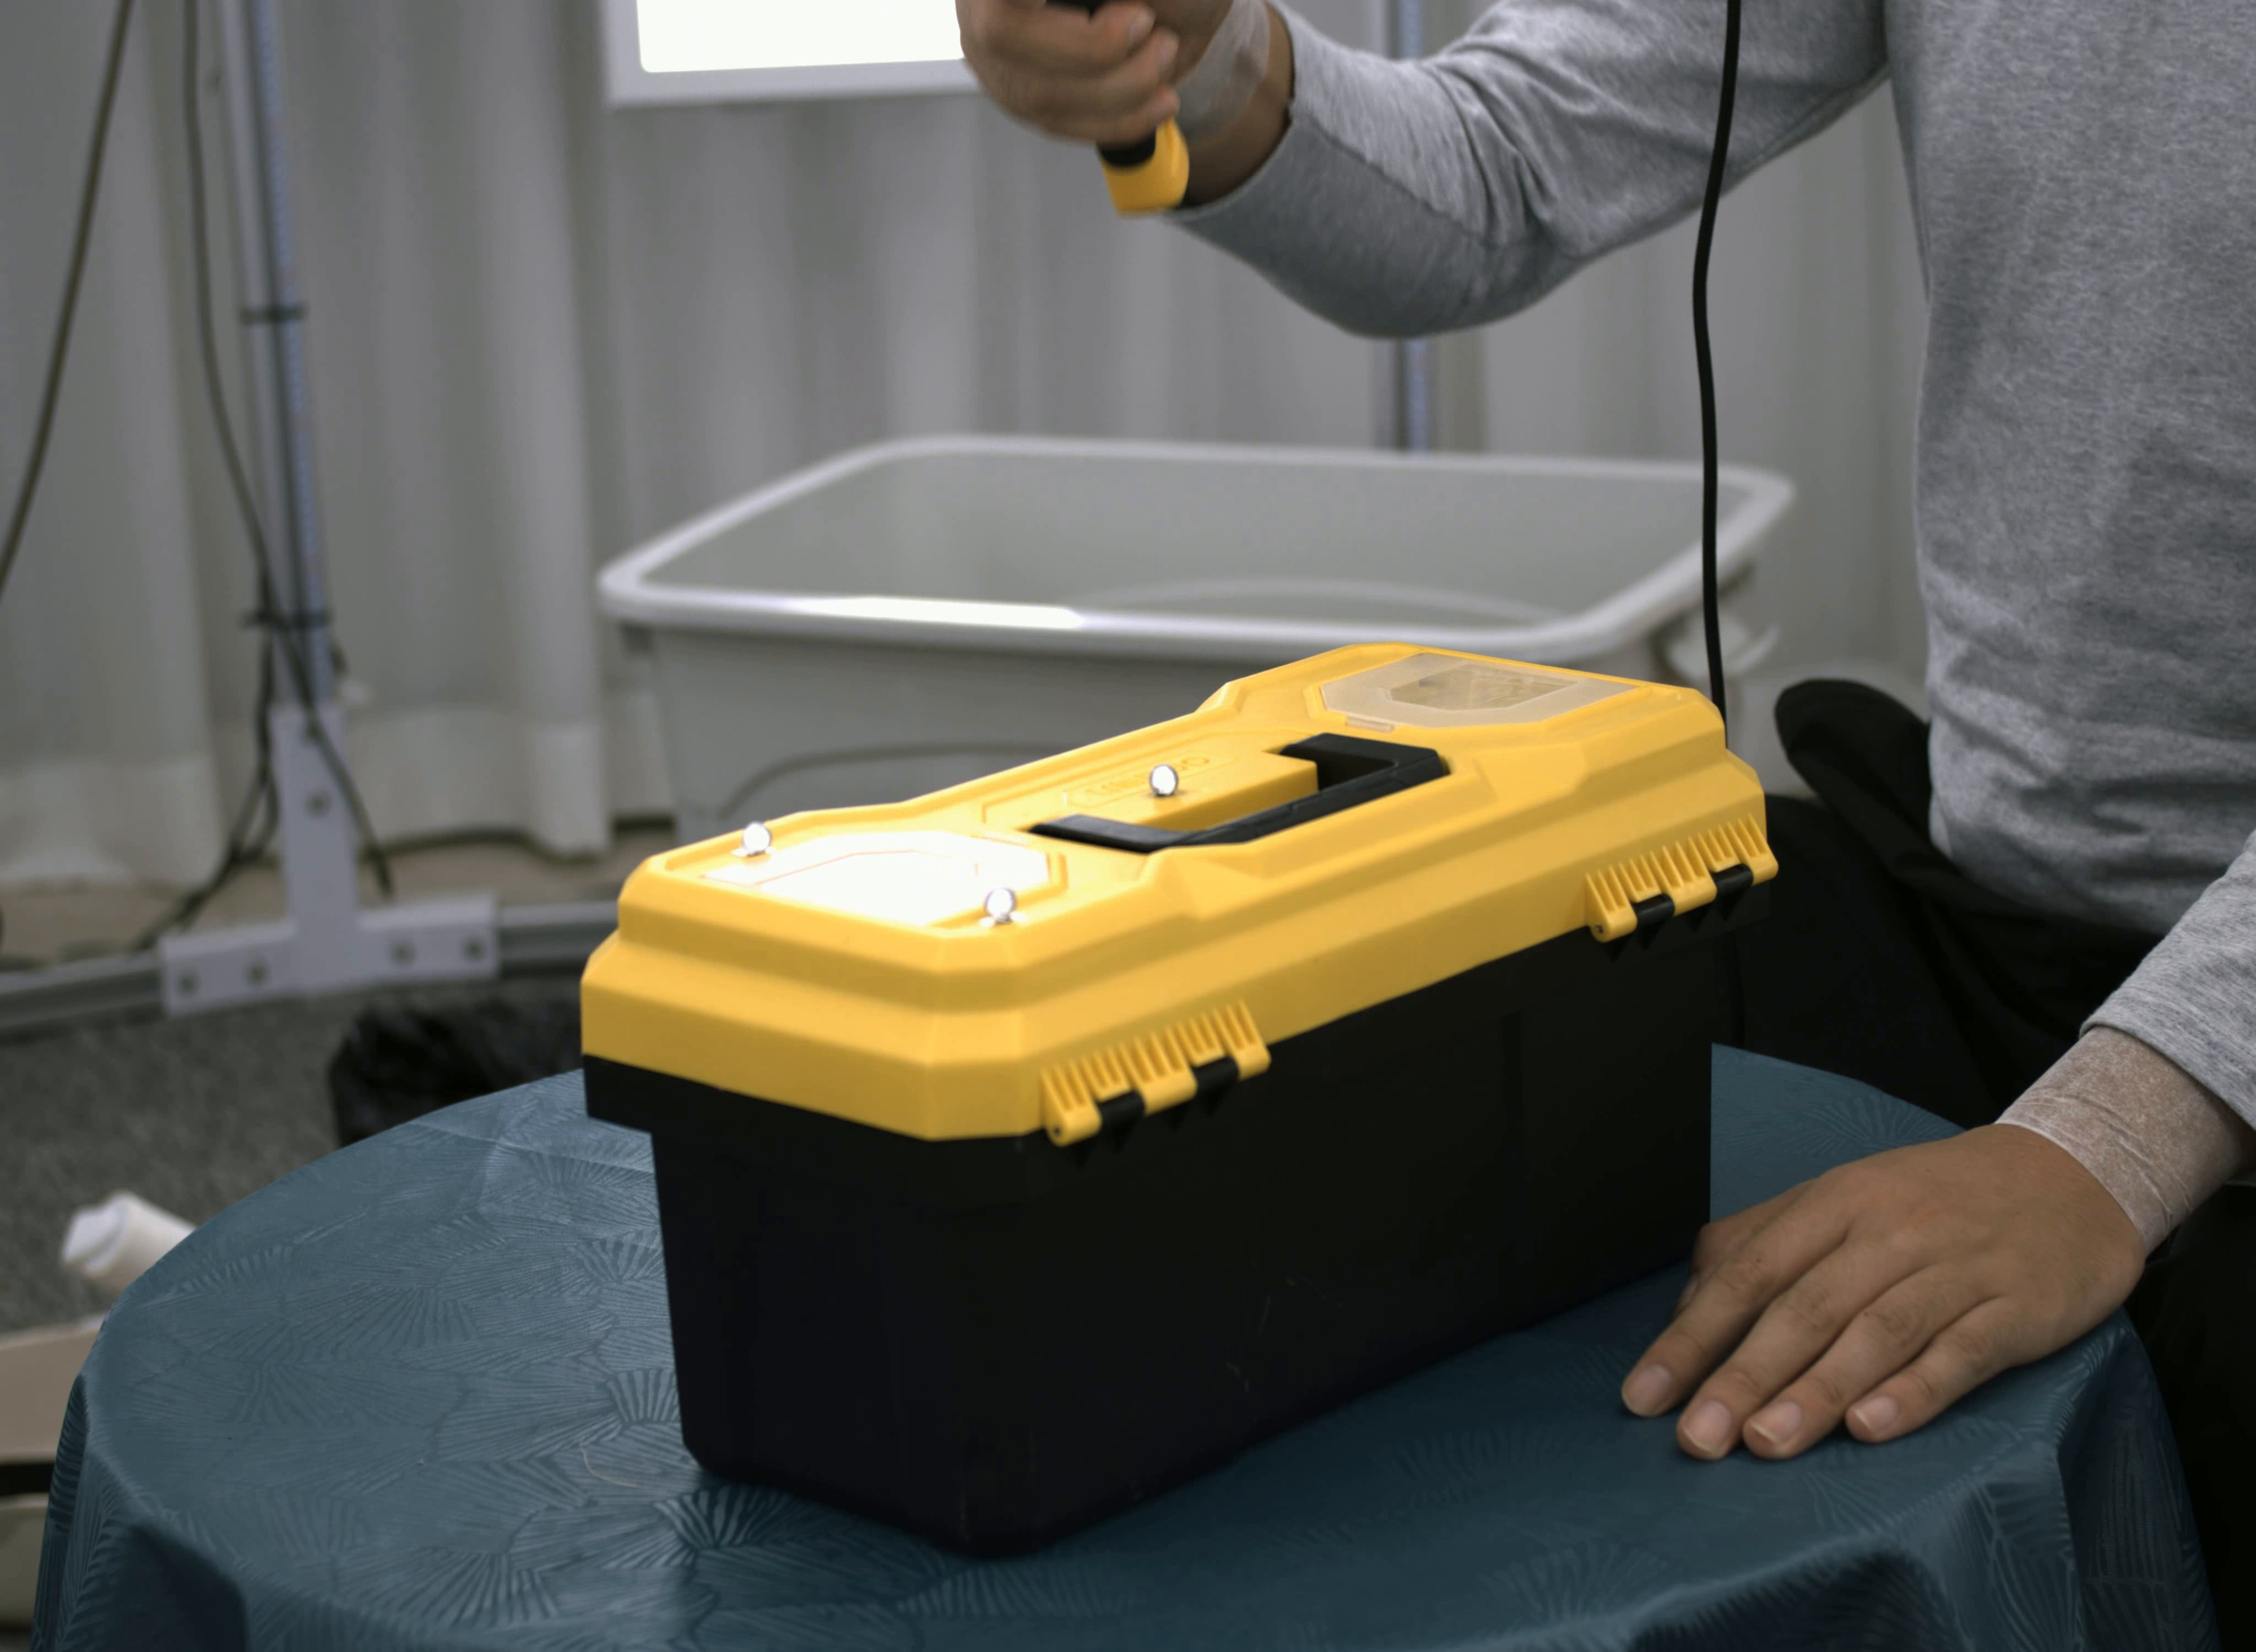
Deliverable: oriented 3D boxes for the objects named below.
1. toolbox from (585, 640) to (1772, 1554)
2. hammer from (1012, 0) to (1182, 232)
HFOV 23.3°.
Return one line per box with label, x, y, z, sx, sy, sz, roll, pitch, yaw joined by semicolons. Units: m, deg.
toolbox;0.022;0.068;1.553;0.182;0.172;0.351;10;19;43
hammer;-0.043;-0.303;1.682;0.032;0.334;0.133;-11;51;14
